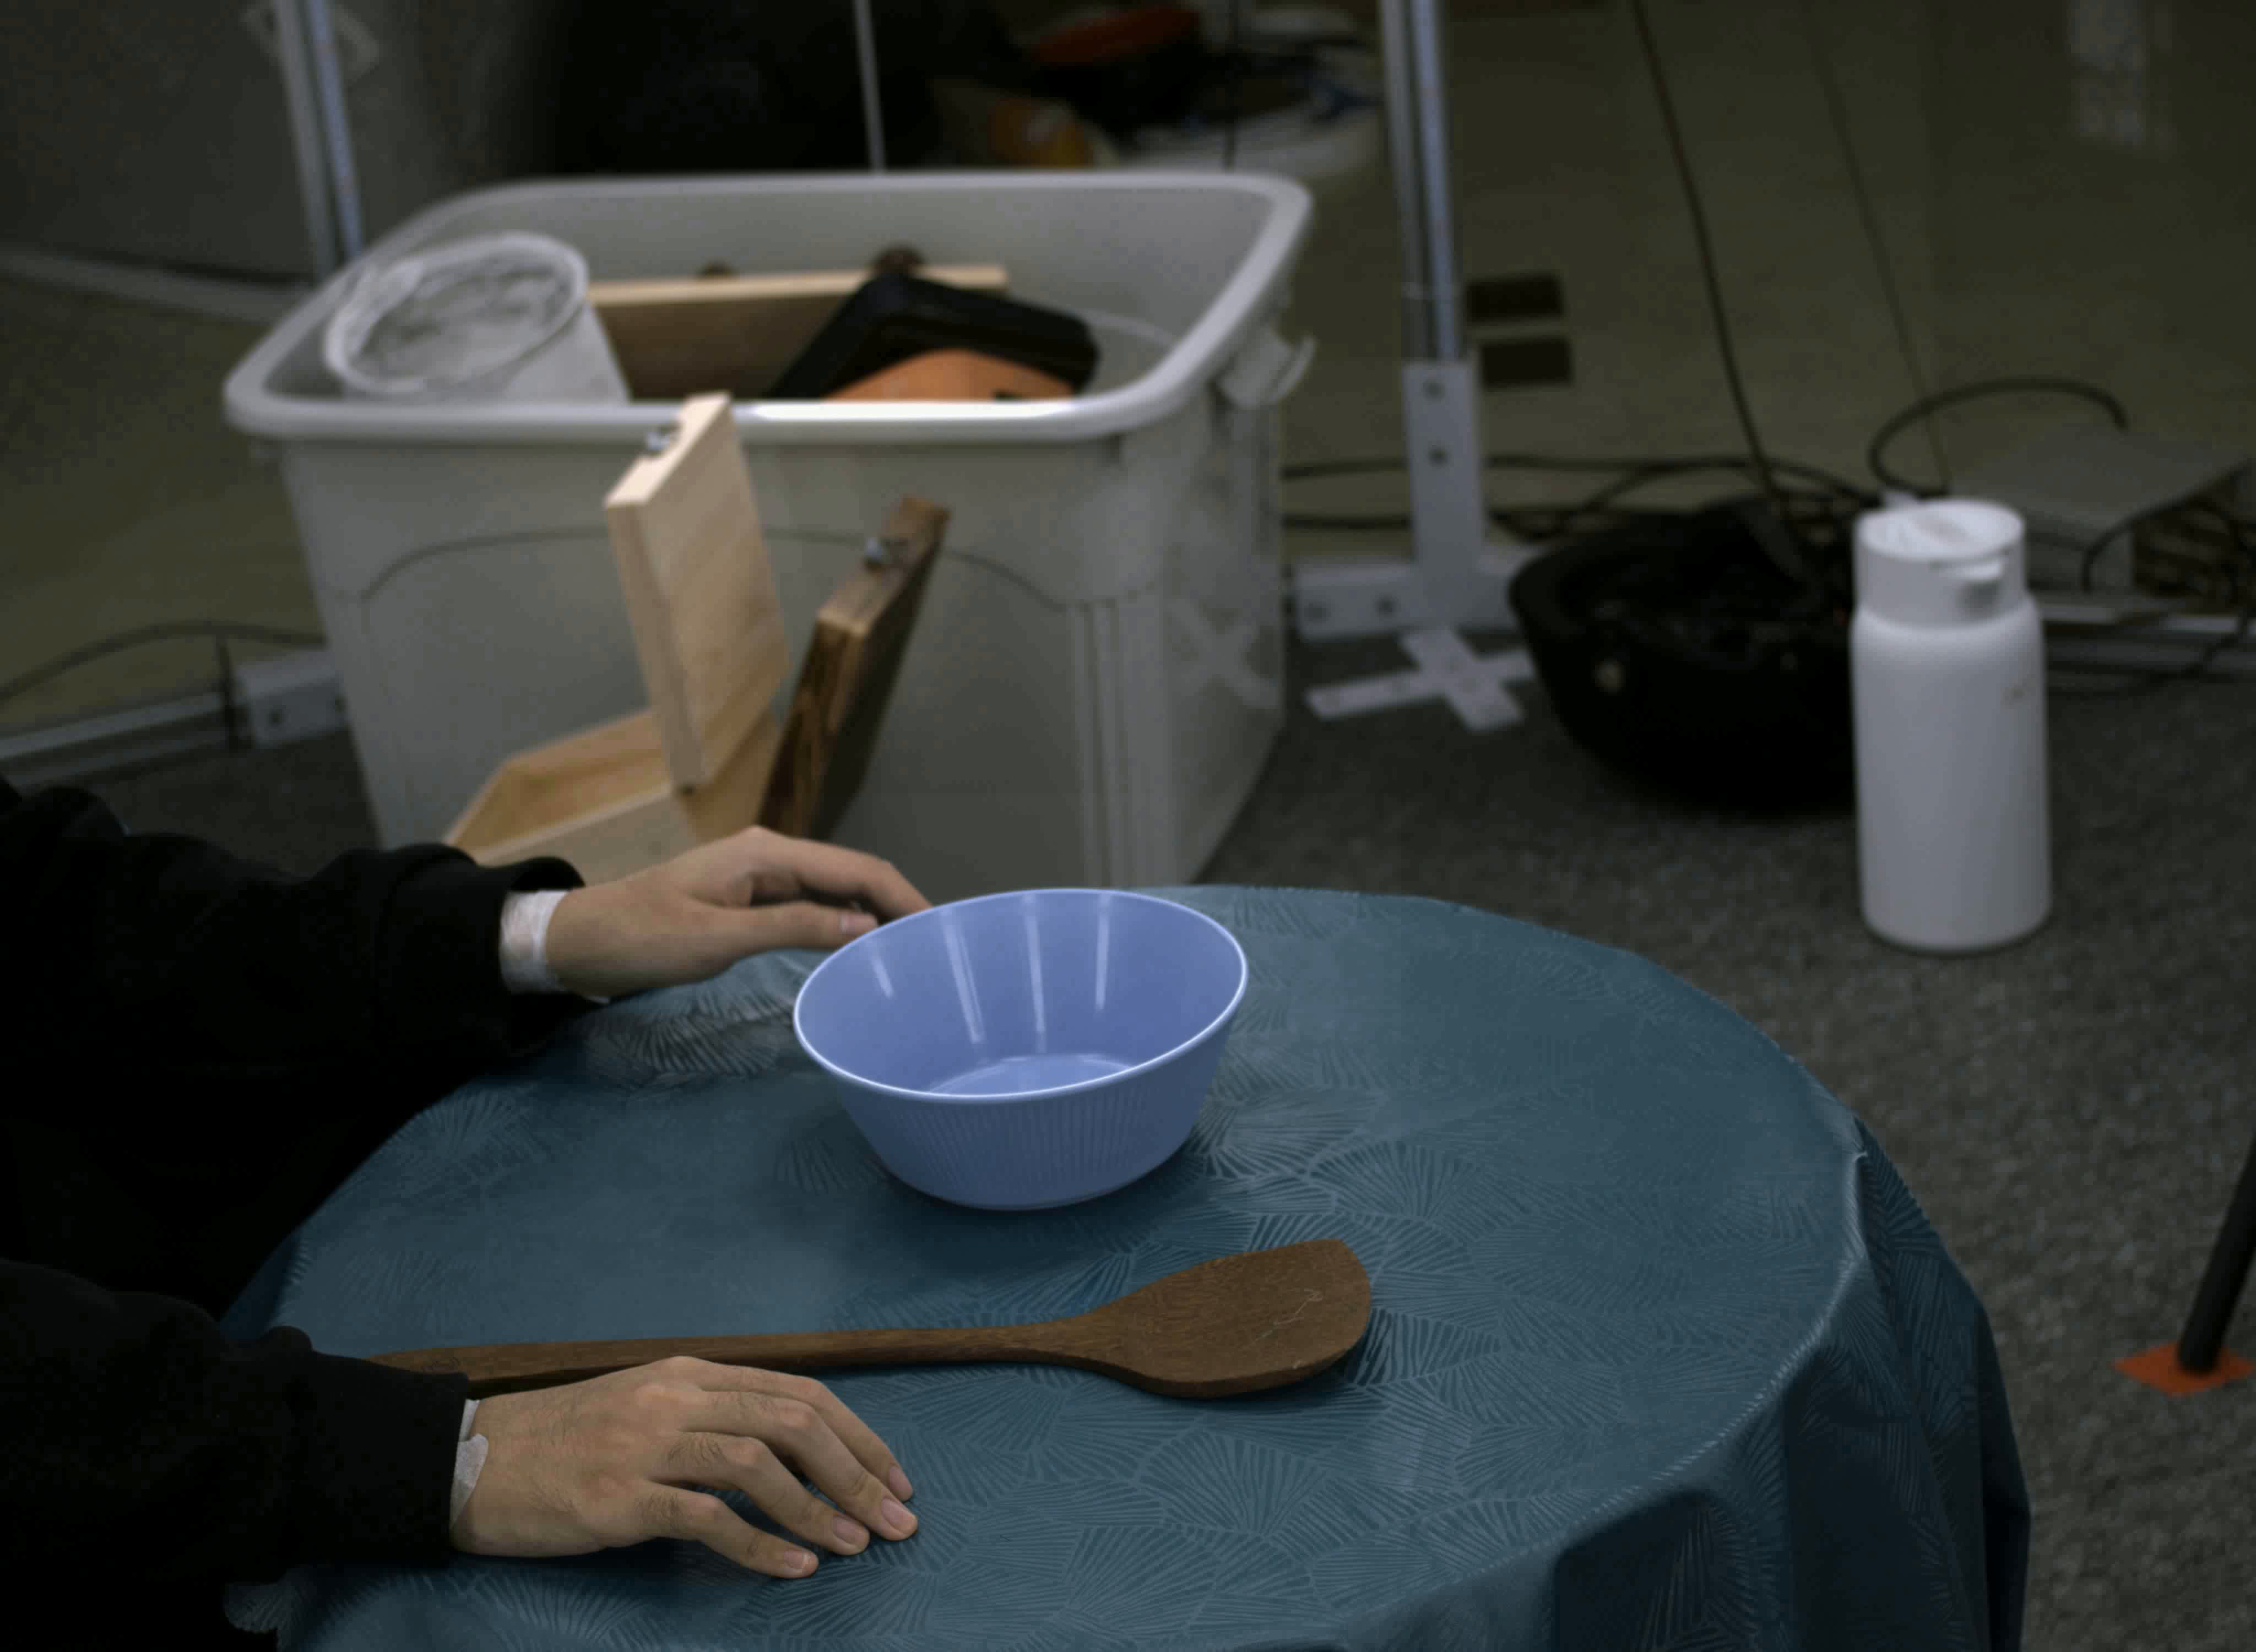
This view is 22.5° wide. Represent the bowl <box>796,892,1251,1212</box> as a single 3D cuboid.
[{"bbox_3d":[-0.036,0.093,2.178,0.176,0.071,0.173,-7,25,3],"label":"bowl"}]

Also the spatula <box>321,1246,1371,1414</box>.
[{"bbox_3d":[-0.104,0.190,2.053,0.385,0.016,0.095,-4,25,5],"label":"spatula"}]
